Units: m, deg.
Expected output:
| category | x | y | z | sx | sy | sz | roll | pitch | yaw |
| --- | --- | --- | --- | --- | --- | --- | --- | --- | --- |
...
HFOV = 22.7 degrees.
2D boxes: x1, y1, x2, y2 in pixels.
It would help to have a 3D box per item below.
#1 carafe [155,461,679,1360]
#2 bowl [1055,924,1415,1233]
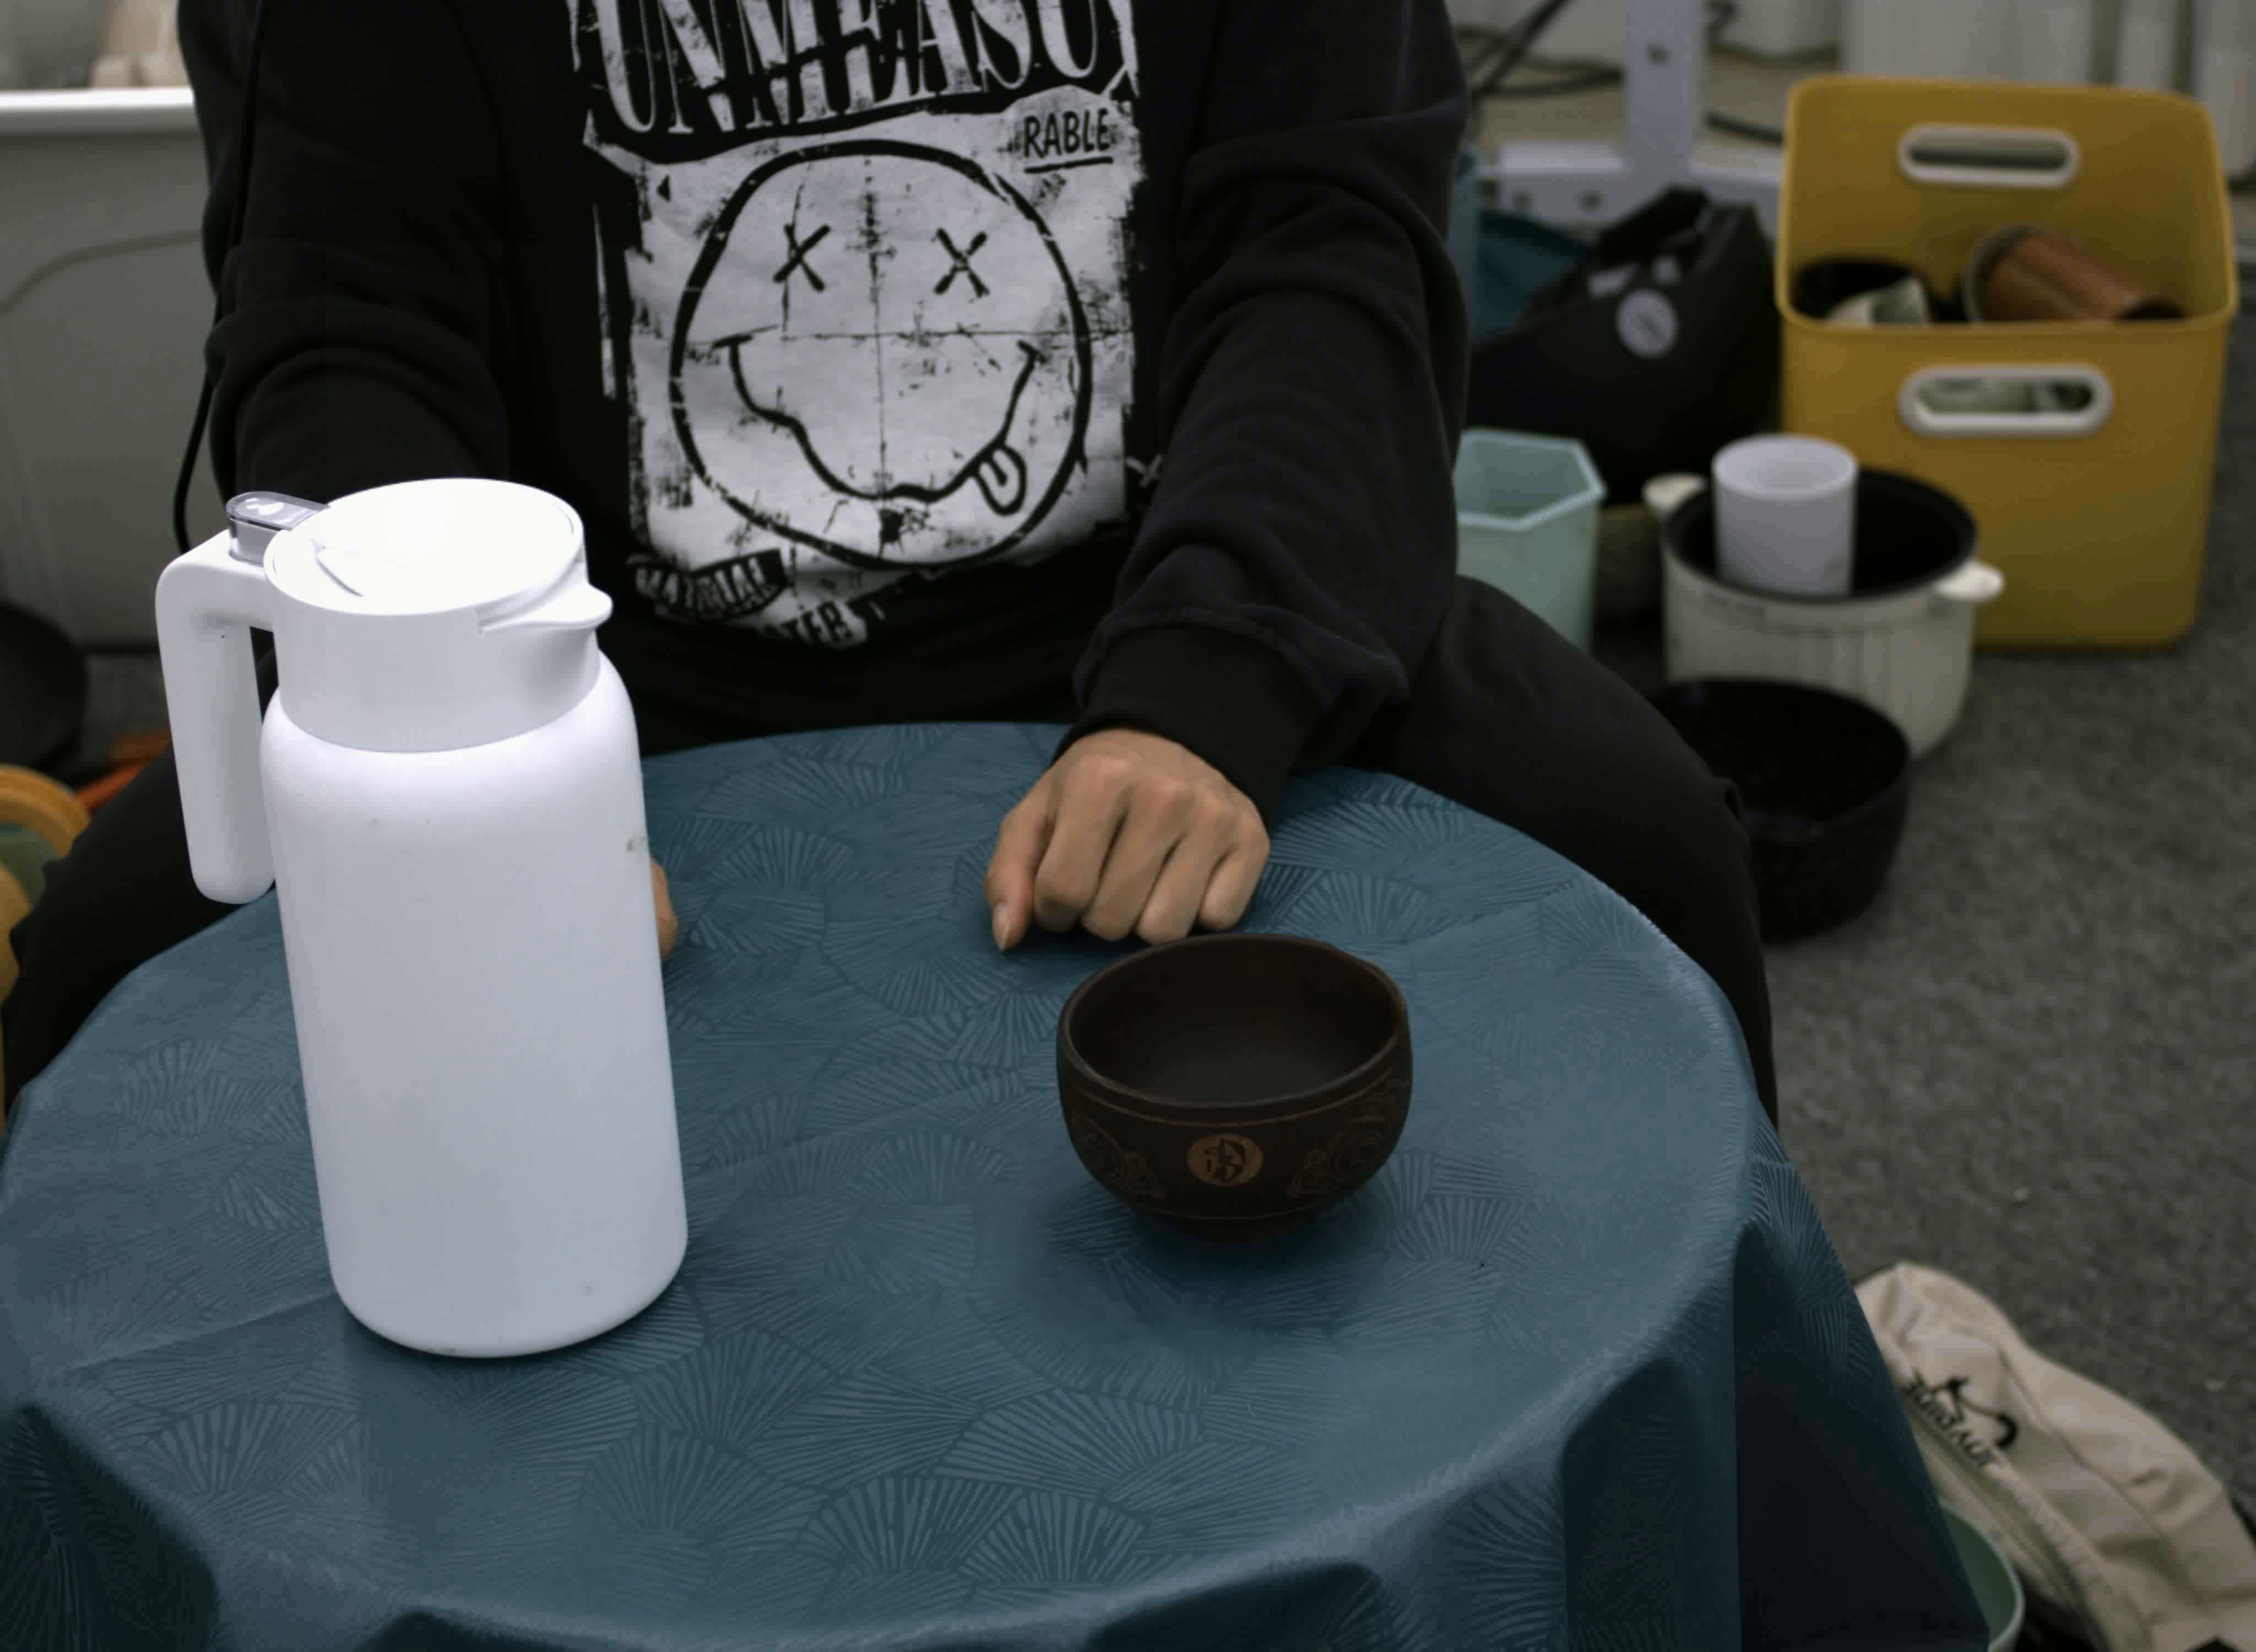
| category | x | y | z | sx | sy | sz | roll | pitch | yaw |
| --- | --- | --- | --- | --- | --- | --- | --- | --- | --- |
| carafe | -0.224 | 0.026 | 1.779 | 0.172 | 0.266 | 0.126 | 12 | 31 | 28 |
| bowl | 0.036 | 0.089 | 1.837 | 0.117 | 0.069 | 0.120 | -3 | 27 | 2 |
